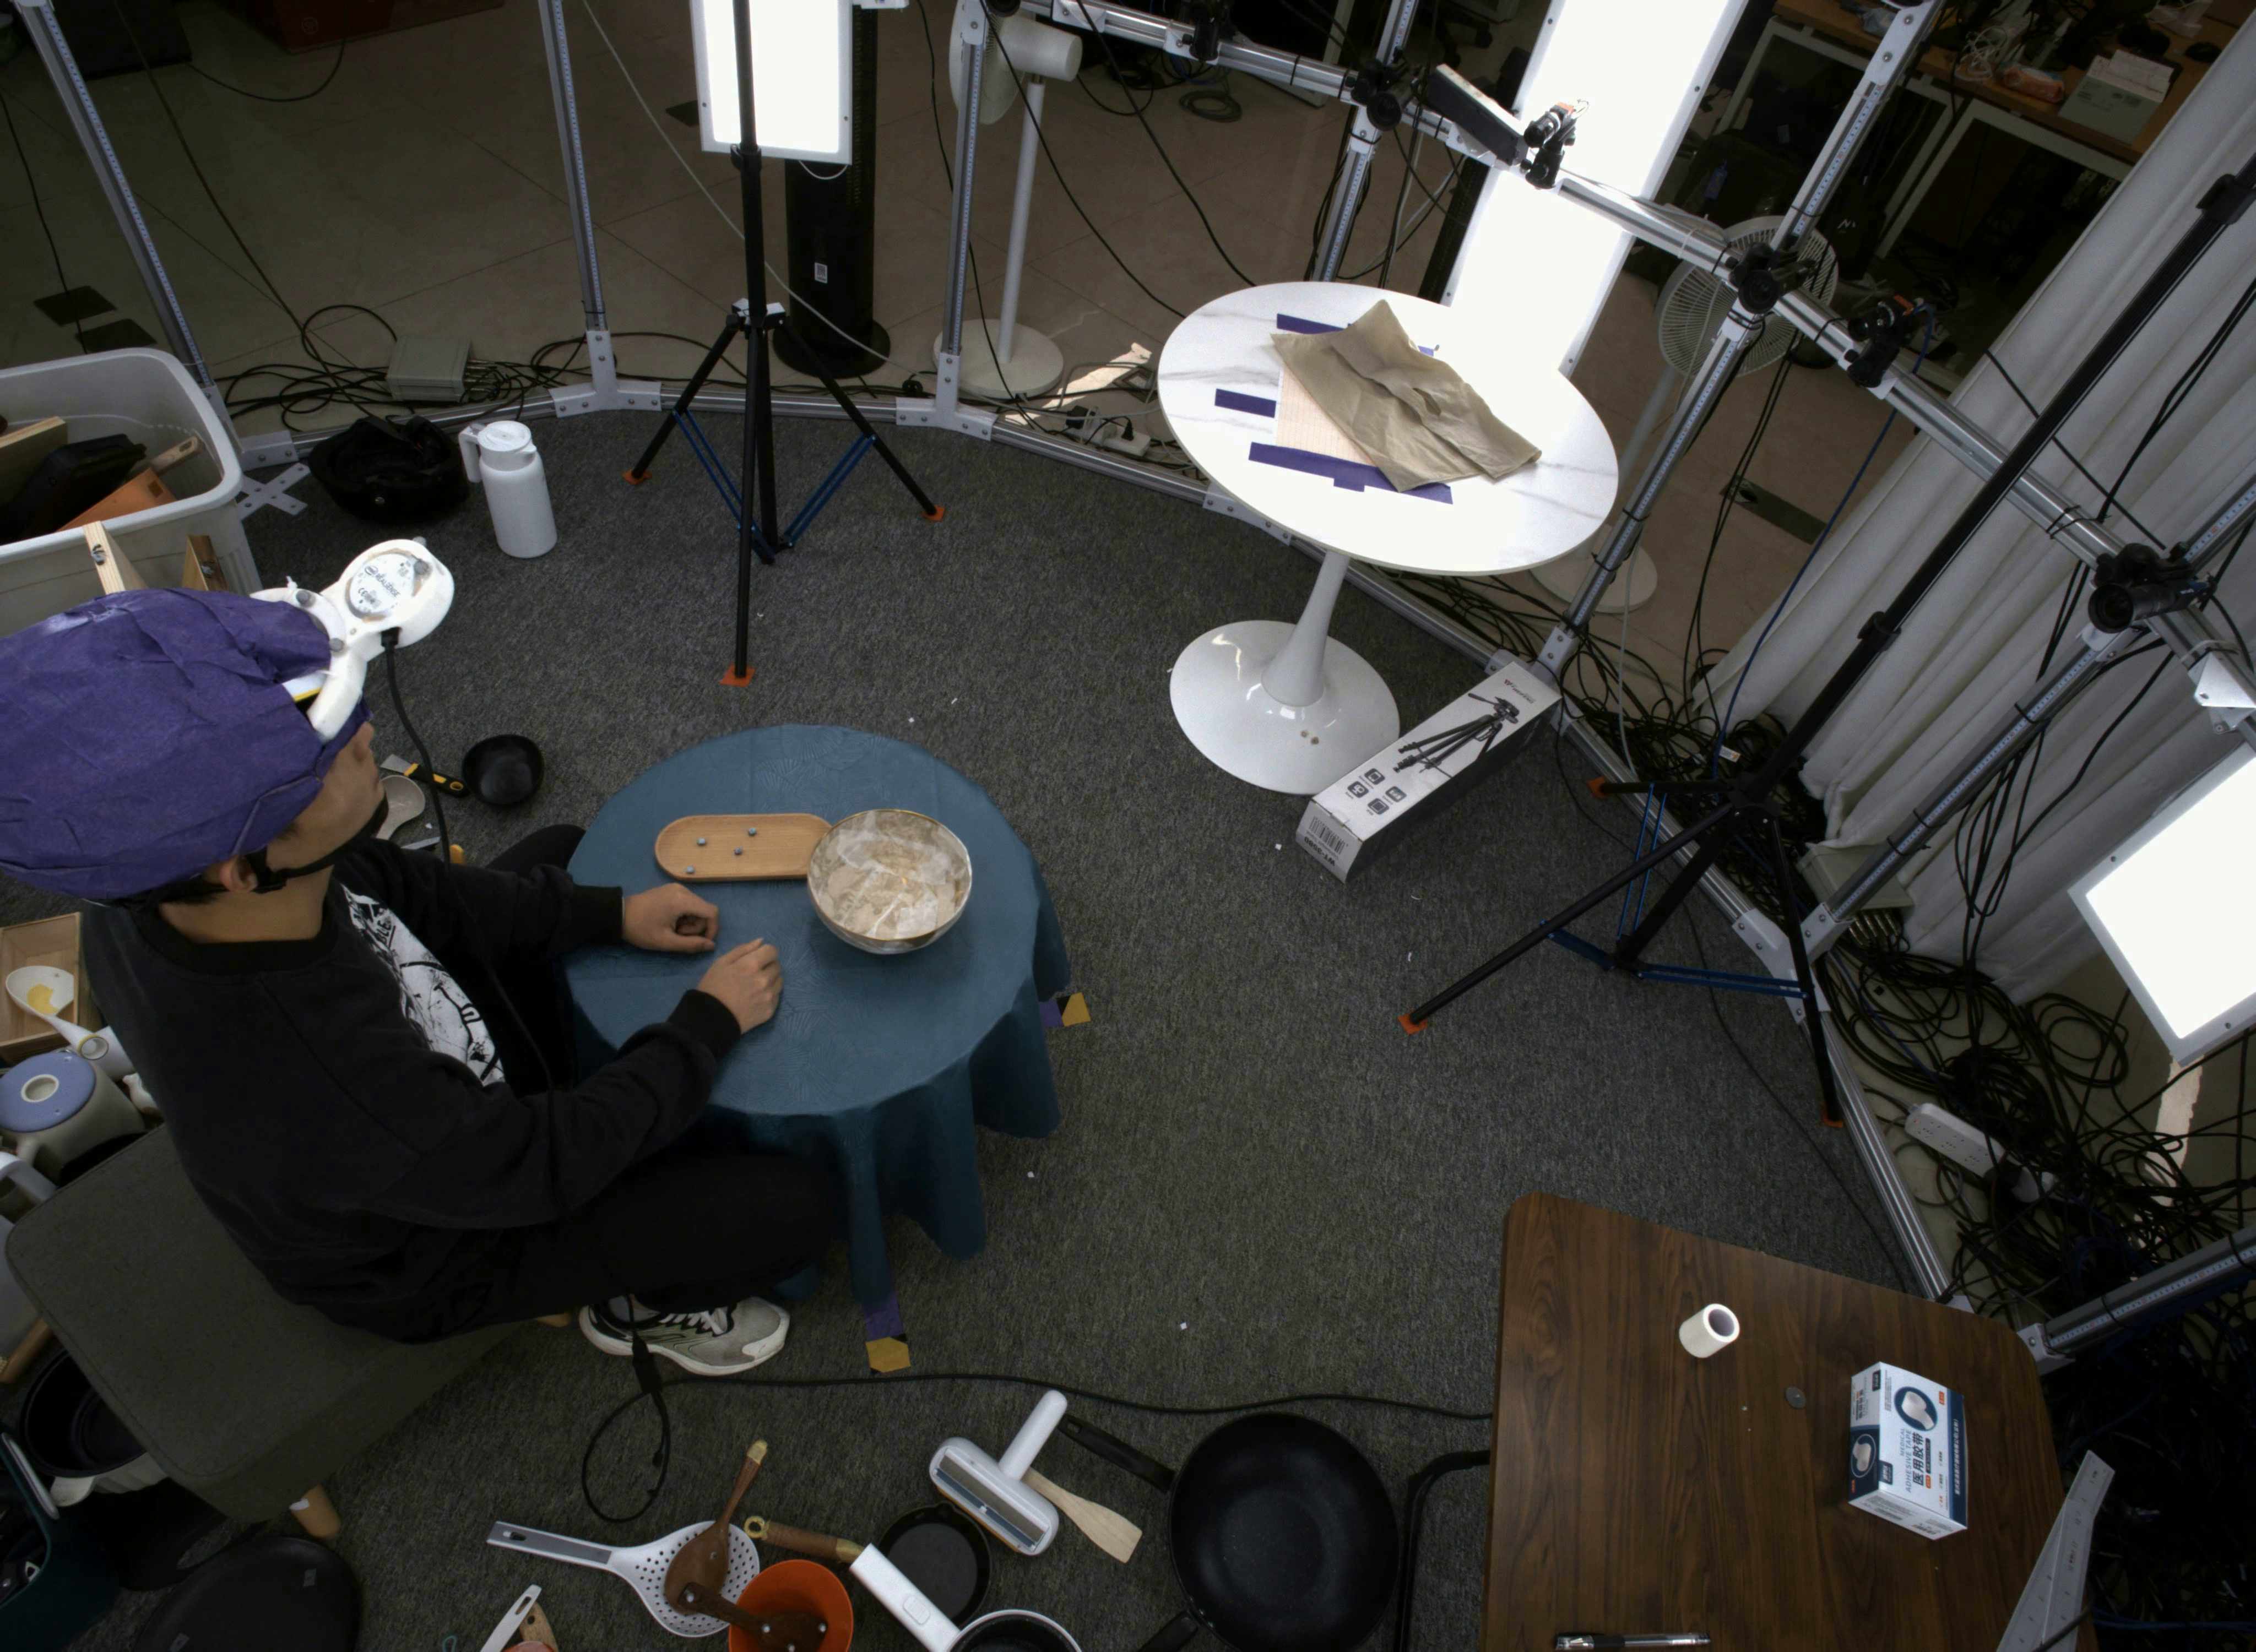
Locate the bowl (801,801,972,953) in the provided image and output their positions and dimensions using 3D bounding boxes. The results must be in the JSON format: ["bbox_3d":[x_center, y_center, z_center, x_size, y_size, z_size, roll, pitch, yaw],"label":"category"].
[{"bbox_3d":[-0.305,0.079,1.641,0.214,0.096,0.211,8,53,-8],"label":"bowl"}]

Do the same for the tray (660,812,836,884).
[{"bbox_3d":[-0.490,0.027,1.682,0.232,0.020,0.099,-1,57,-18],"label":"tray"}]
